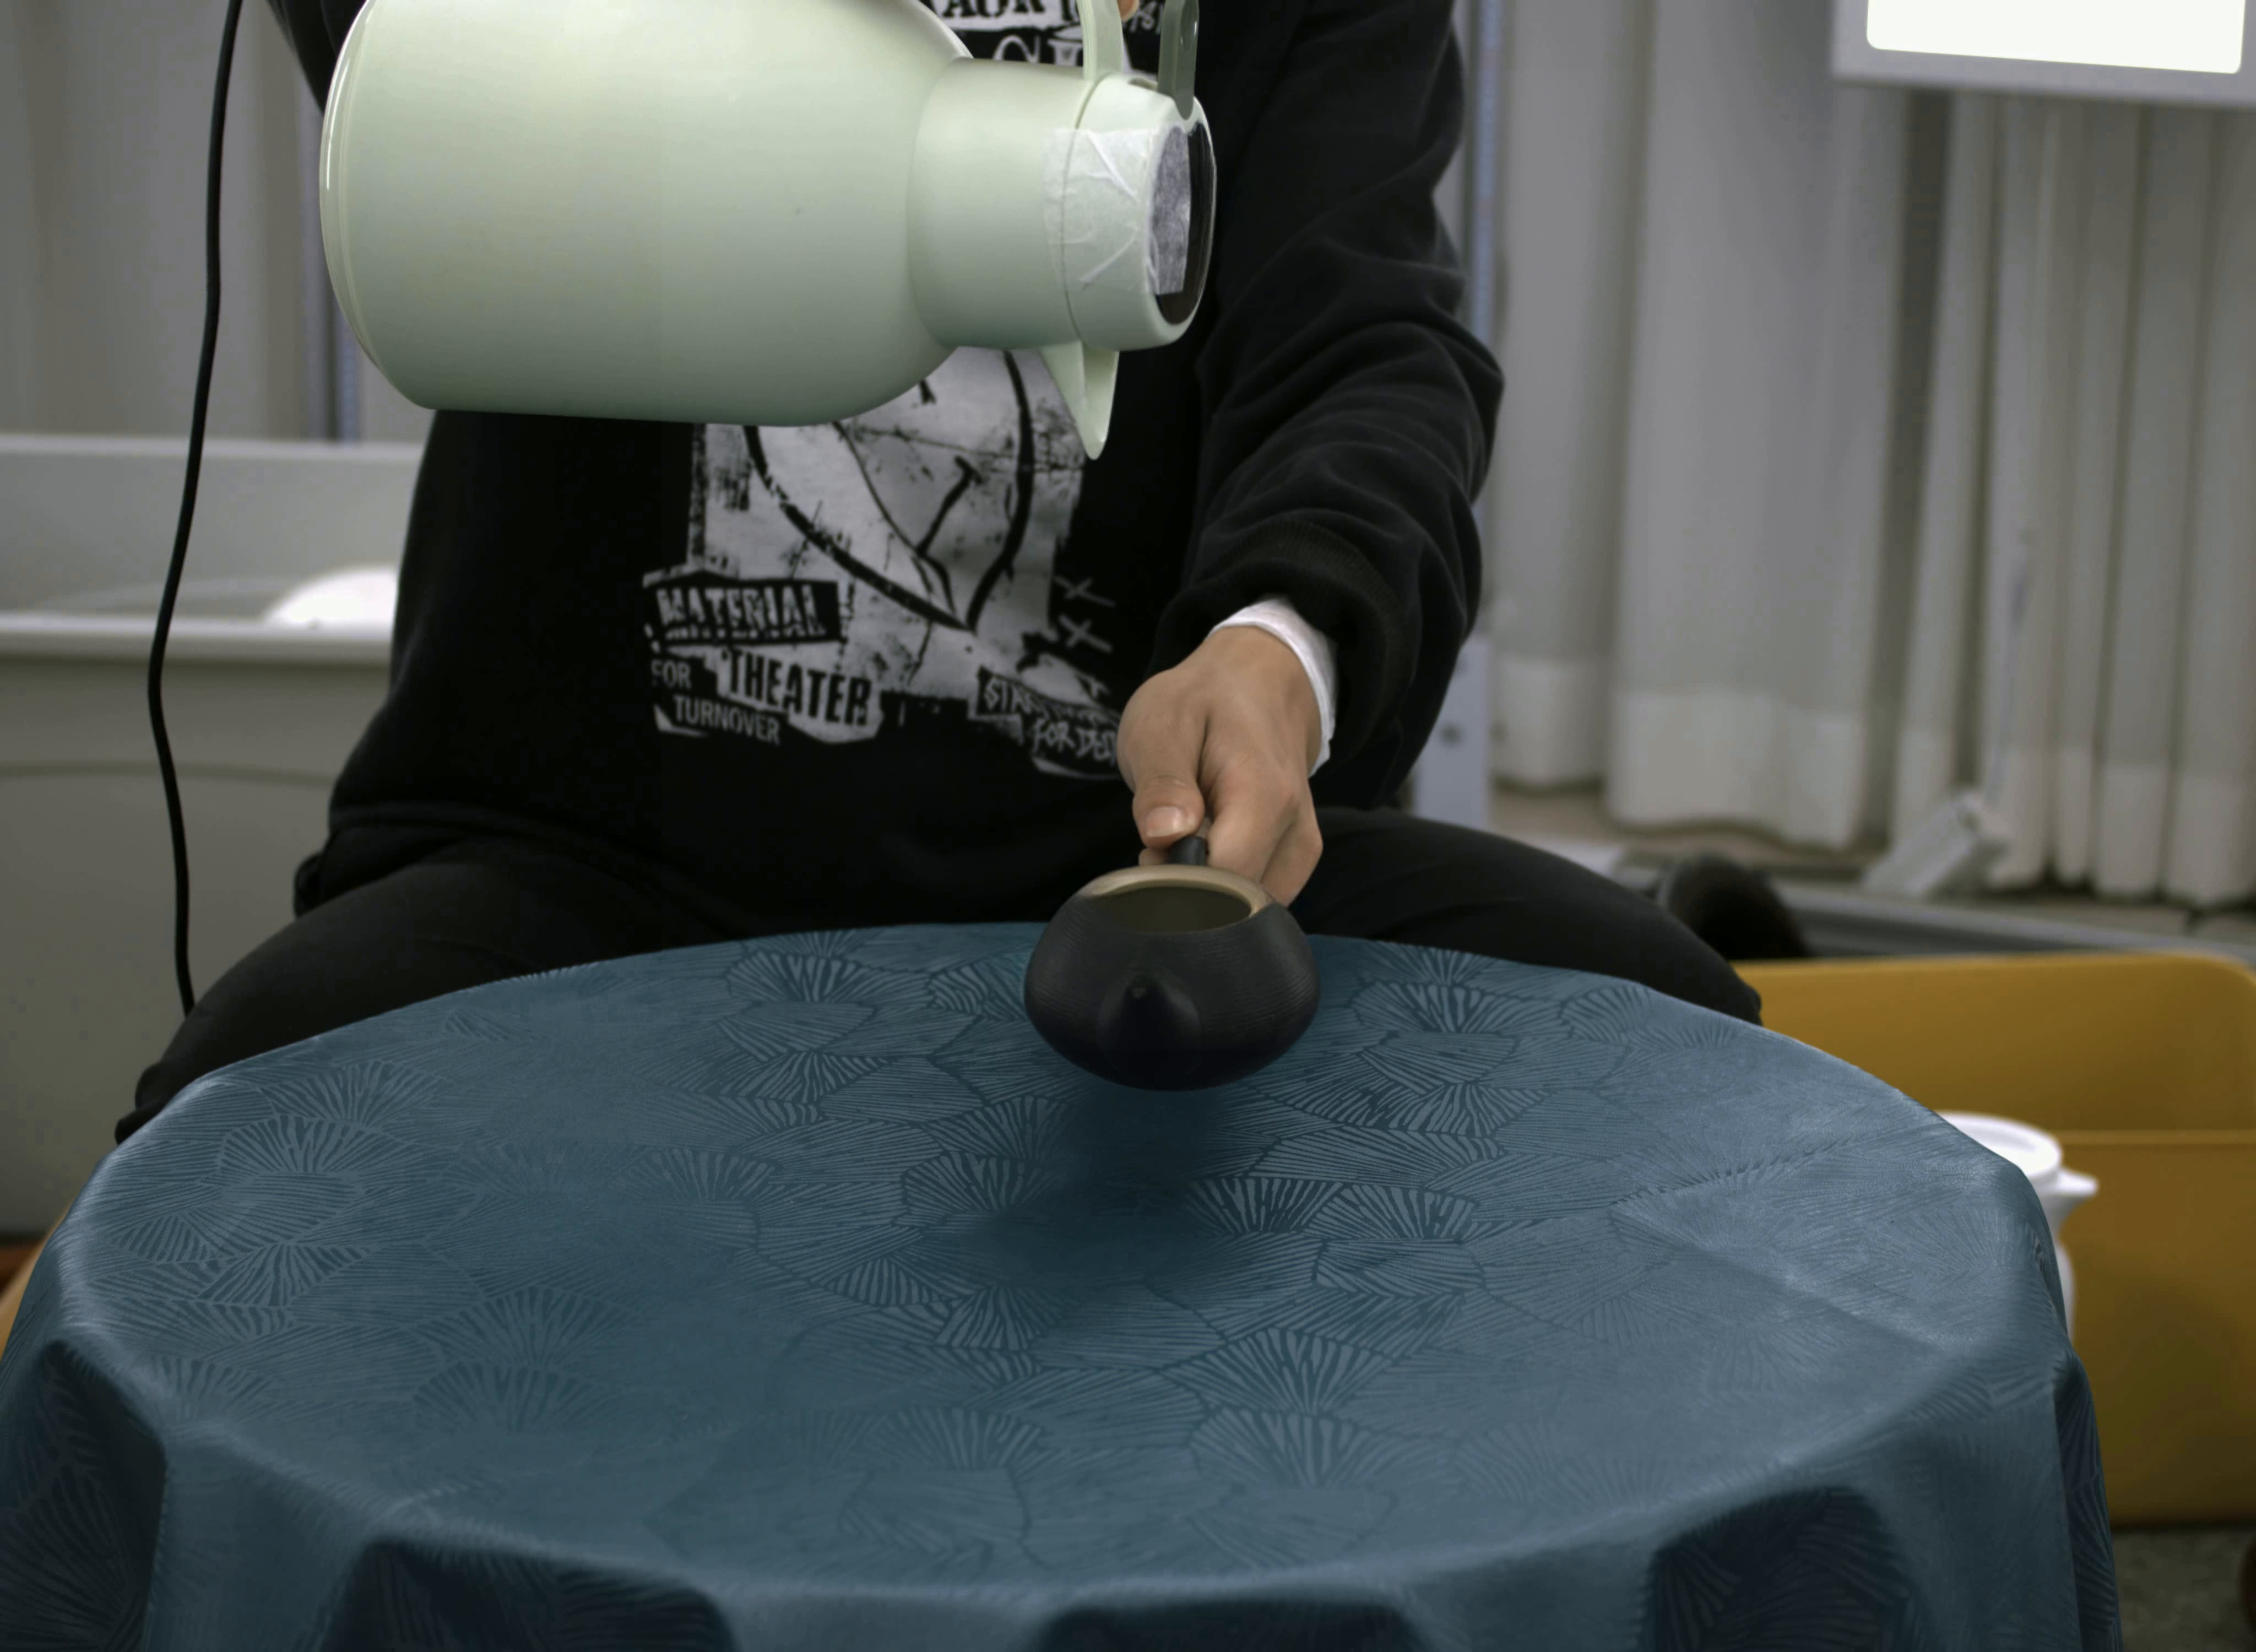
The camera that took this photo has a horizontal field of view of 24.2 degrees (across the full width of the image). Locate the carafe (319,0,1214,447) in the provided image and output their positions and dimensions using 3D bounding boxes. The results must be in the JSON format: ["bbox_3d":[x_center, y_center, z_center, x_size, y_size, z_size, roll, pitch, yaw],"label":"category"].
[{"bbox_3d":[-0.103,-0.208,1.573,0.254,0.188,0.144,3,12,19],"label":"carafe"}]

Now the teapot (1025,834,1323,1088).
[{"bbox_3d":[0.014,0.045,1.600,0.090,0.053,0.132,4,22,7],"label":"teapot"}]
